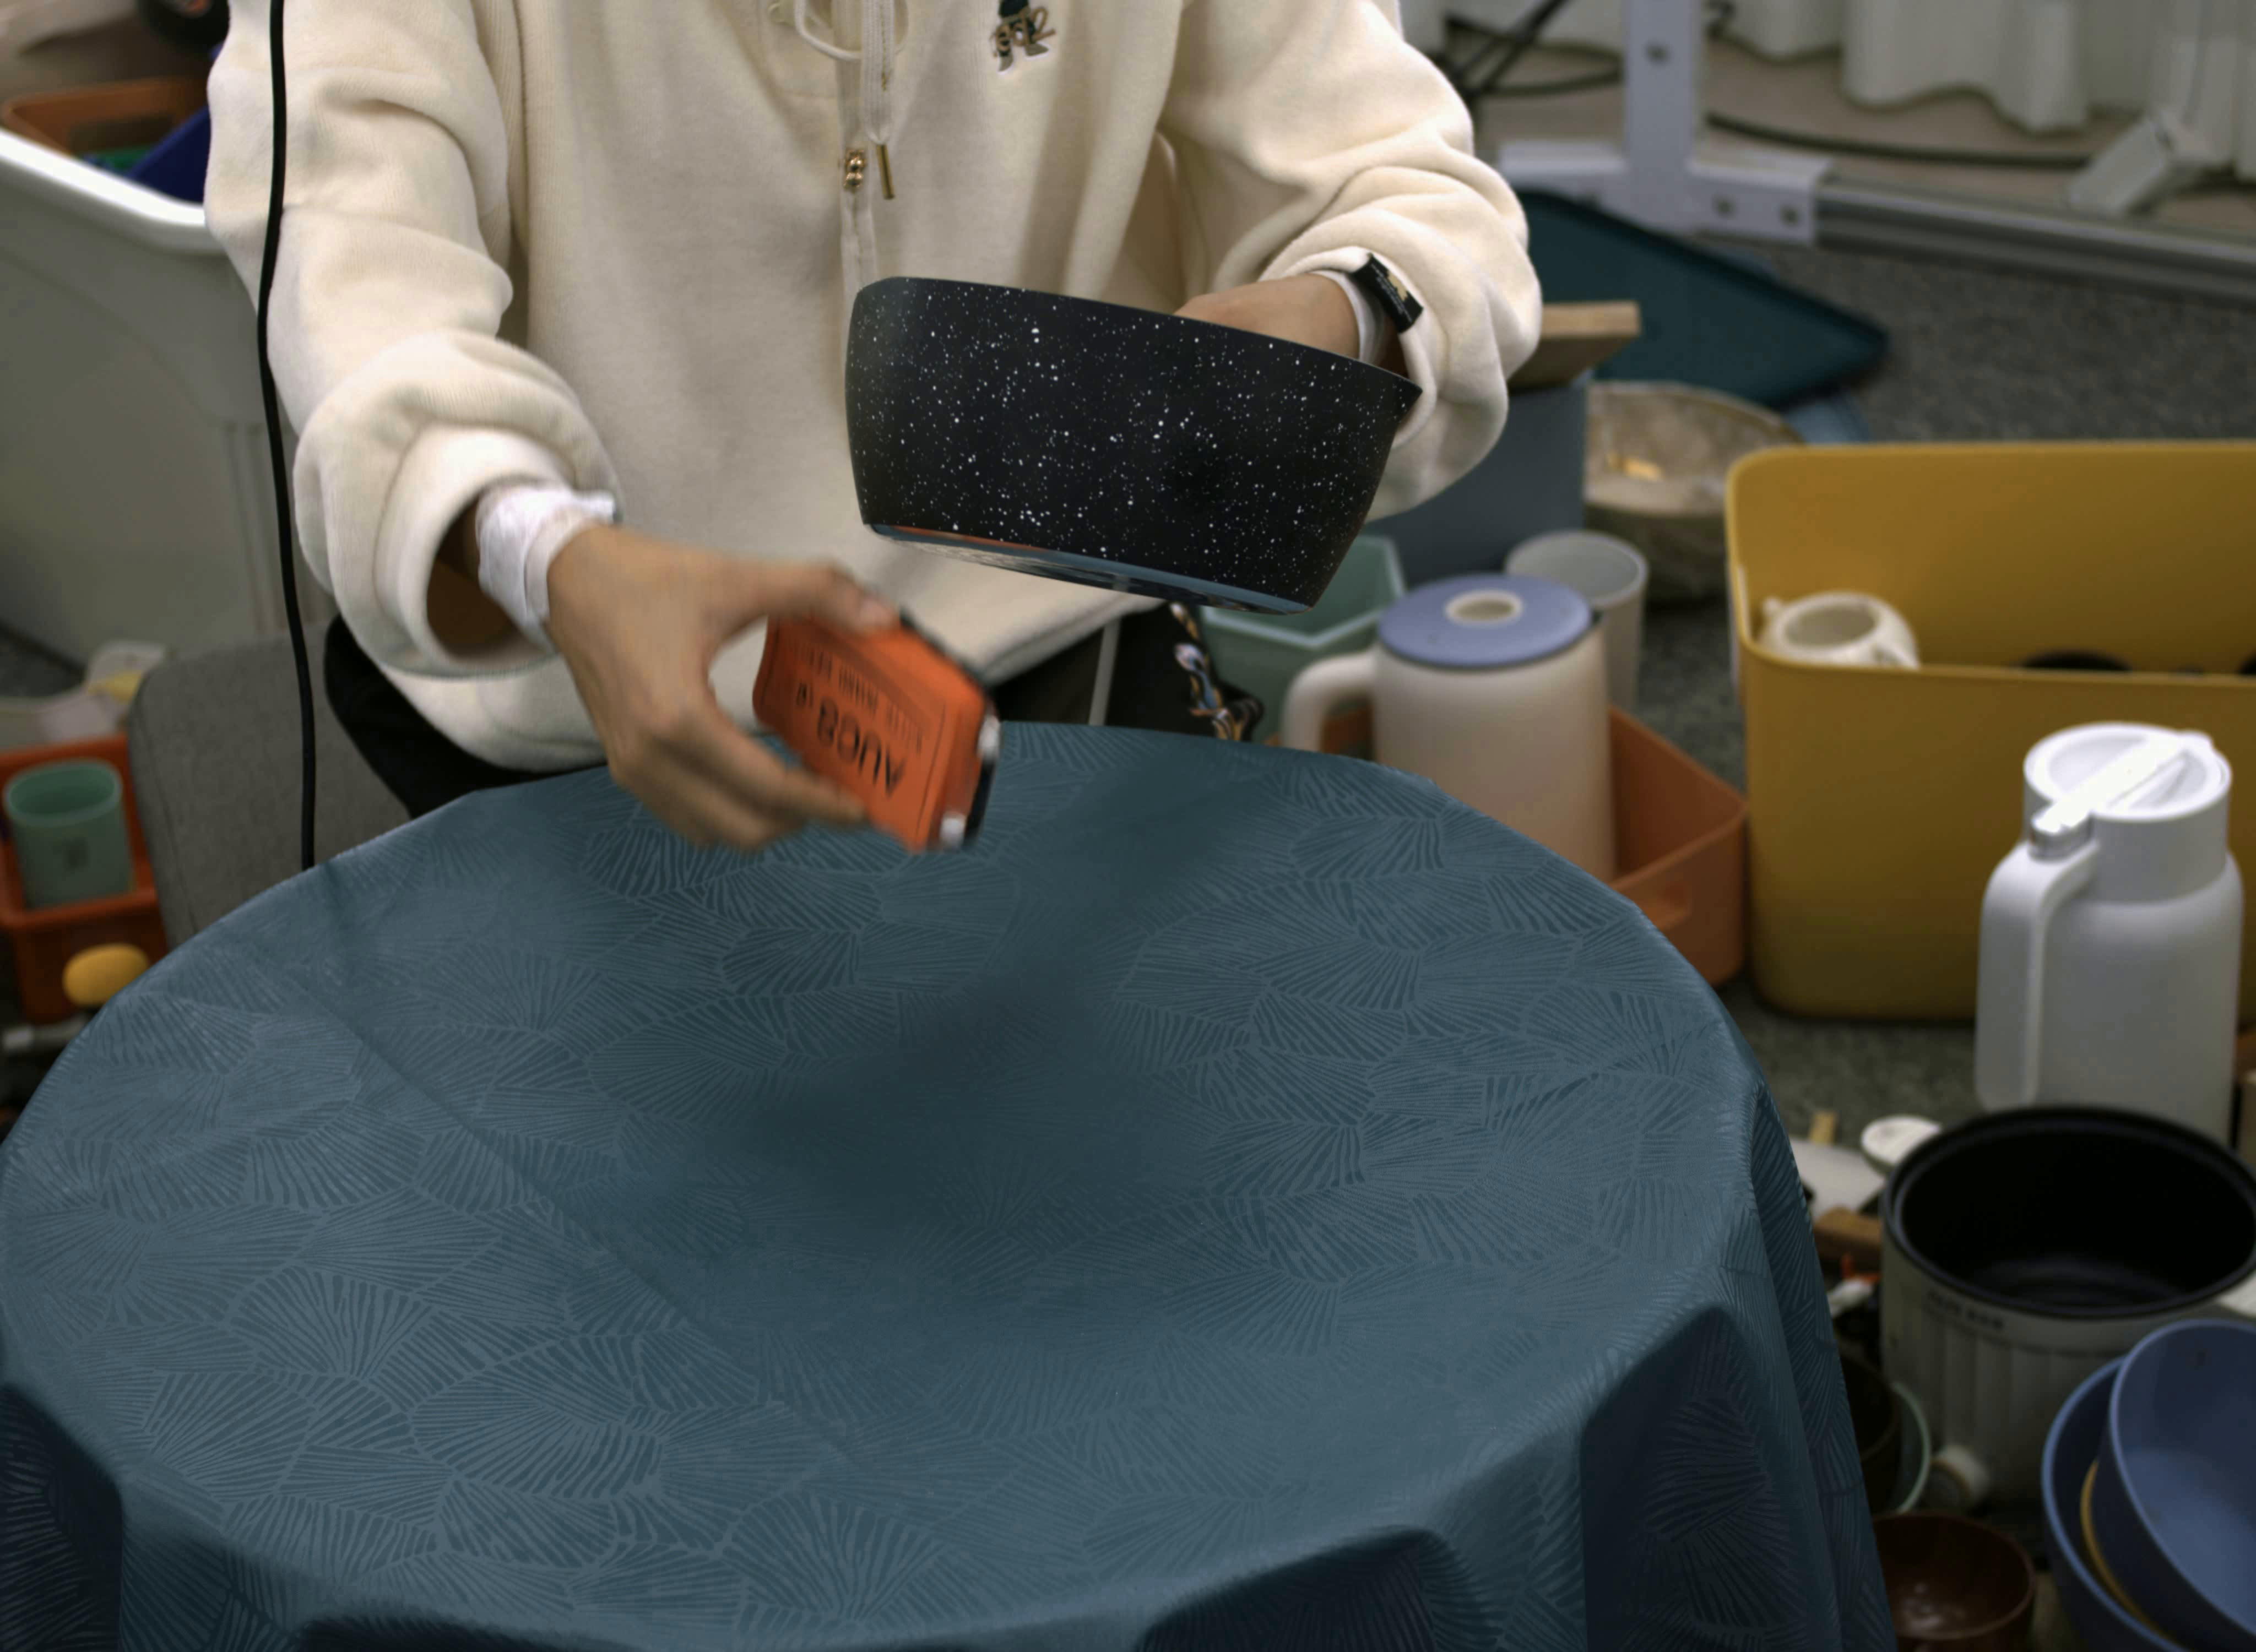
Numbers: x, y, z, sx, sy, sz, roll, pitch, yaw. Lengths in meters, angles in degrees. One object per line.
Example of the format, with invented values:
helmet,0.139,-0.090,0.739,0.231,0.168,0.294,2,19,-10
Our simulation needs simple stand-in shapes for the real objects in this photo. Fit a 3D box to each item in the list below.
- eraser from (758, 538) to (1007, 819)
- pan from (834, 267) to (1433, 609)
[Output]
eraser,-0.081,-0.049,1.837,0.023,0.058,0.108,-5,29,-37
pan,0.006,-0.135,1.962,0.206,0.108,0.343,10,1,7
